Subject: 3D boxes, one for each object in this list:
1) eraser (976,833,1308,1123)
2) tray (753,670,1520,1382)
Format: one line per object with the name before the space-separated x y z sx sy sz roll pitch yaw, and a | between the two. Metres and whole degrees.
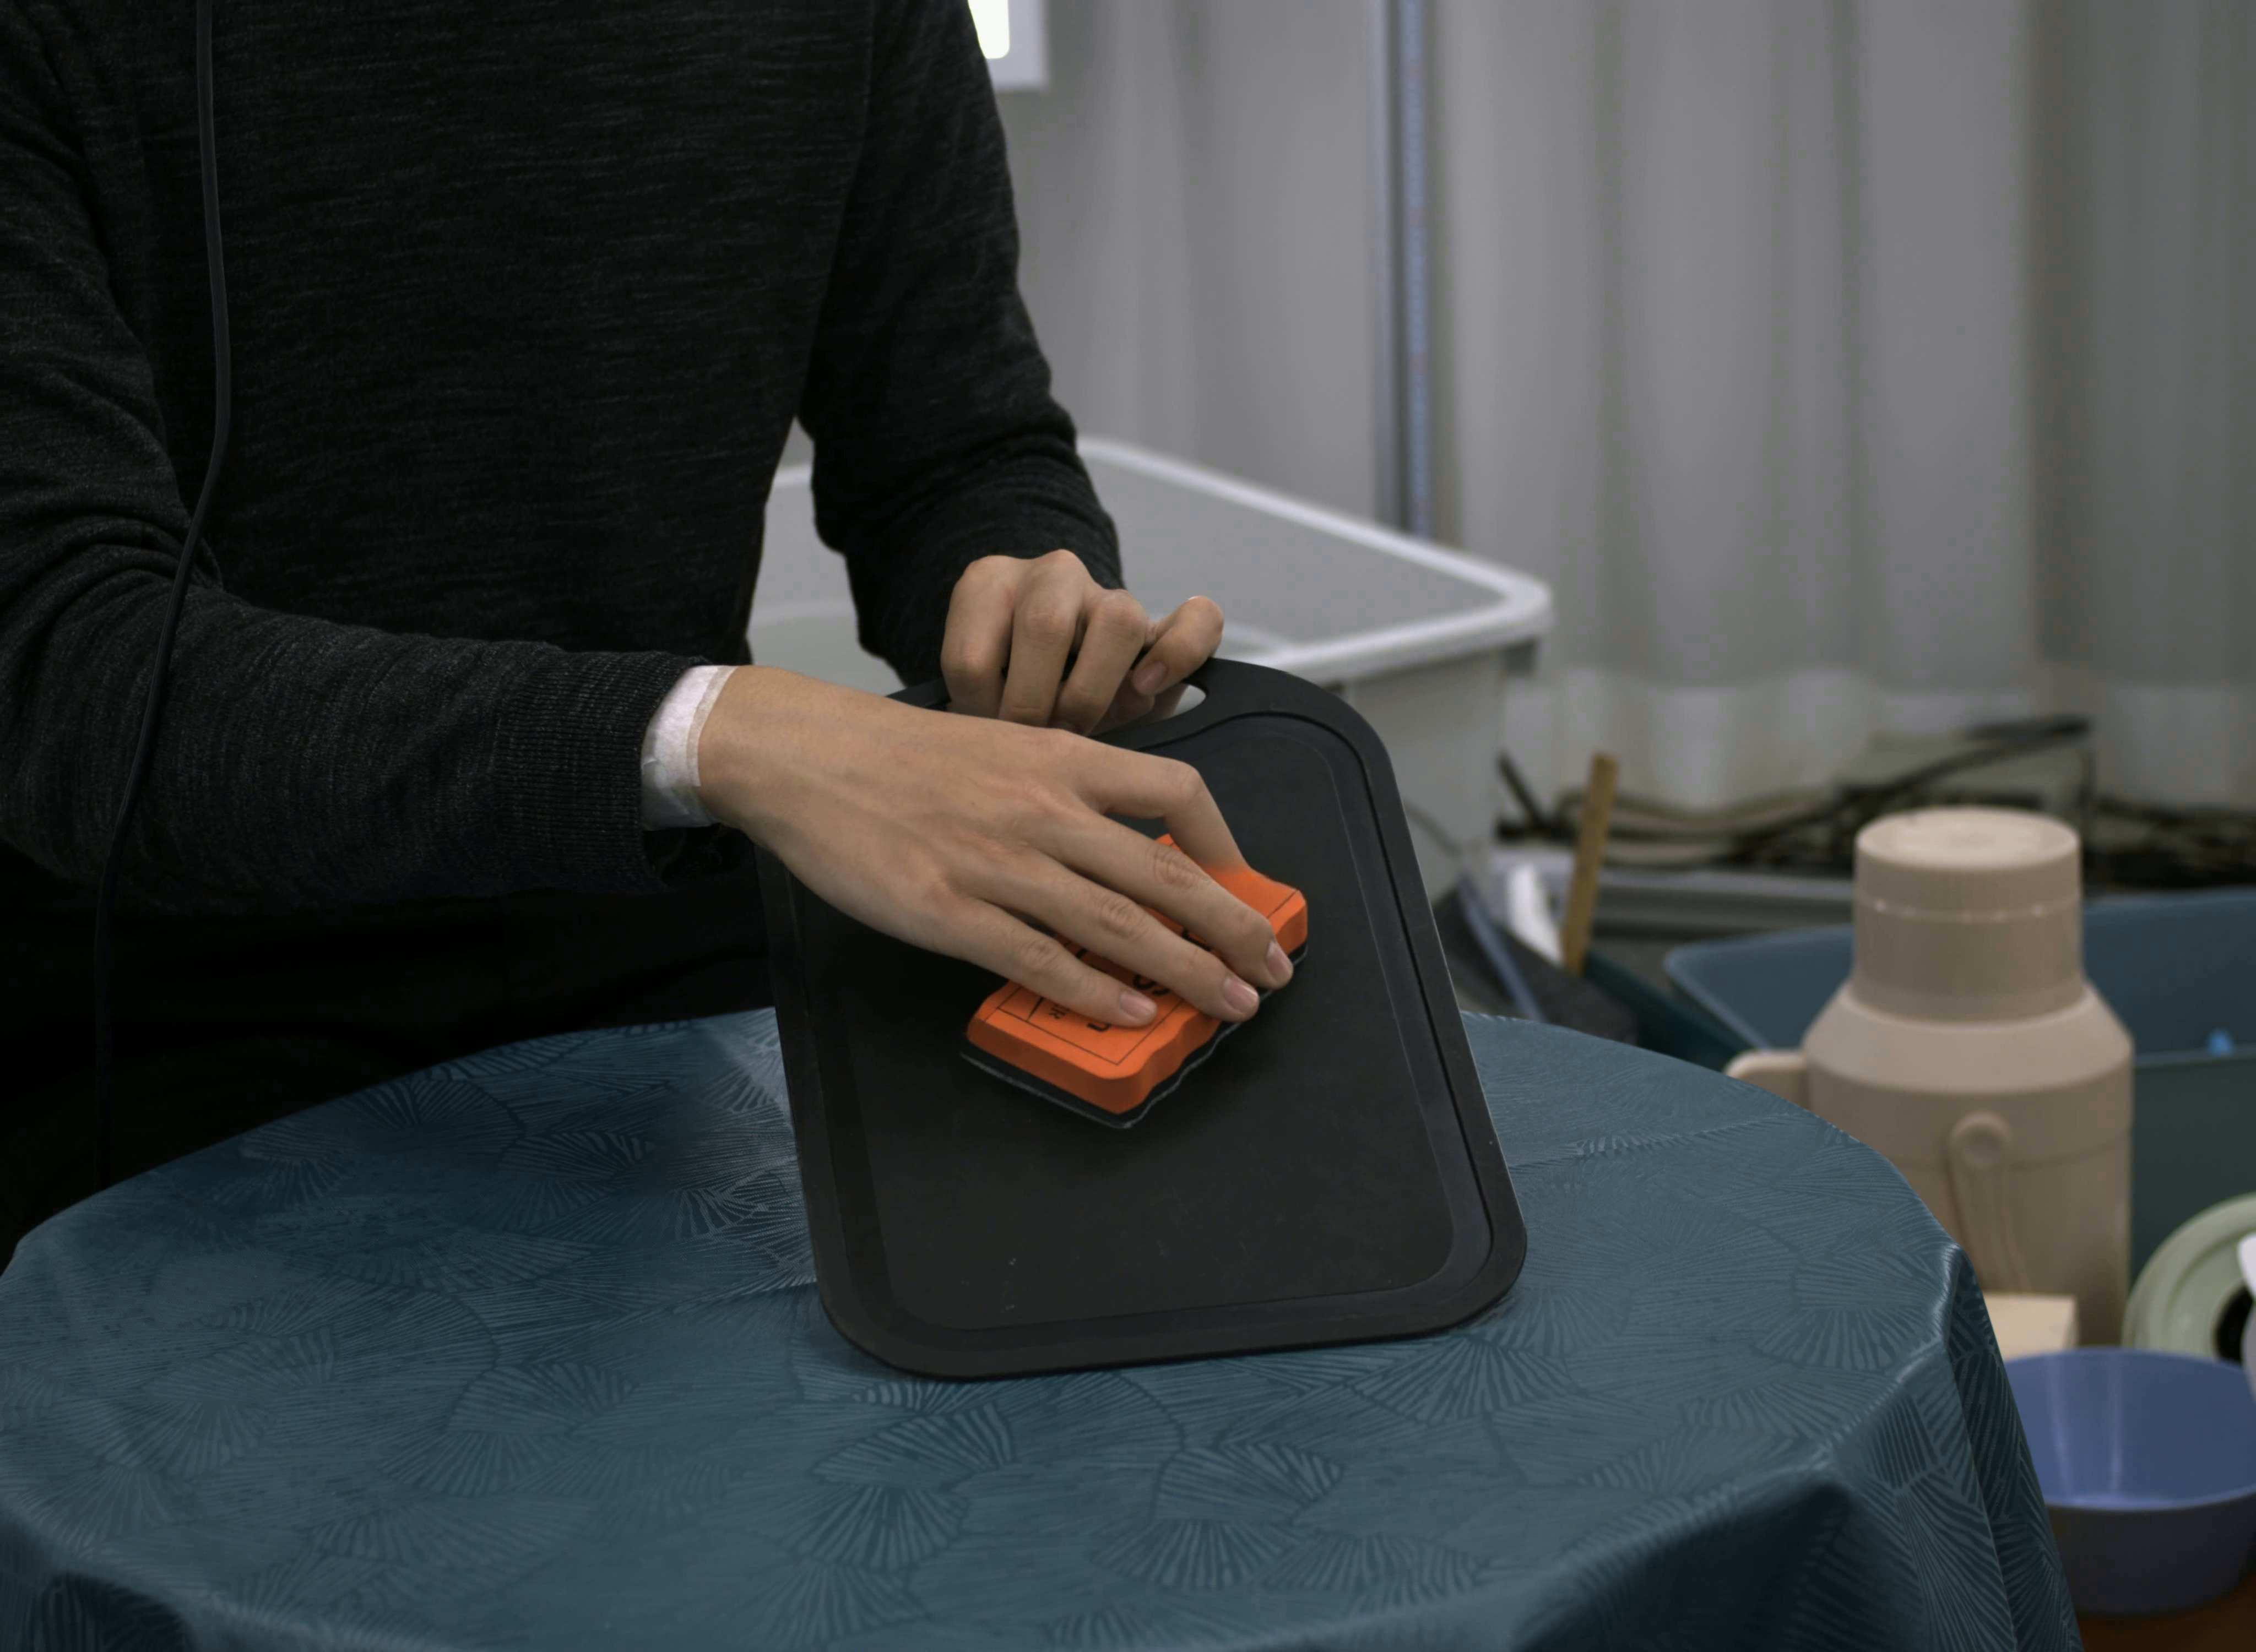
eraser | 0.005 0.046 1.683 0.059 0.022 0.108 23 45 29
tray | -0.005 0.051 1.690 0.210 0.009 0.330 -4 39 -6
